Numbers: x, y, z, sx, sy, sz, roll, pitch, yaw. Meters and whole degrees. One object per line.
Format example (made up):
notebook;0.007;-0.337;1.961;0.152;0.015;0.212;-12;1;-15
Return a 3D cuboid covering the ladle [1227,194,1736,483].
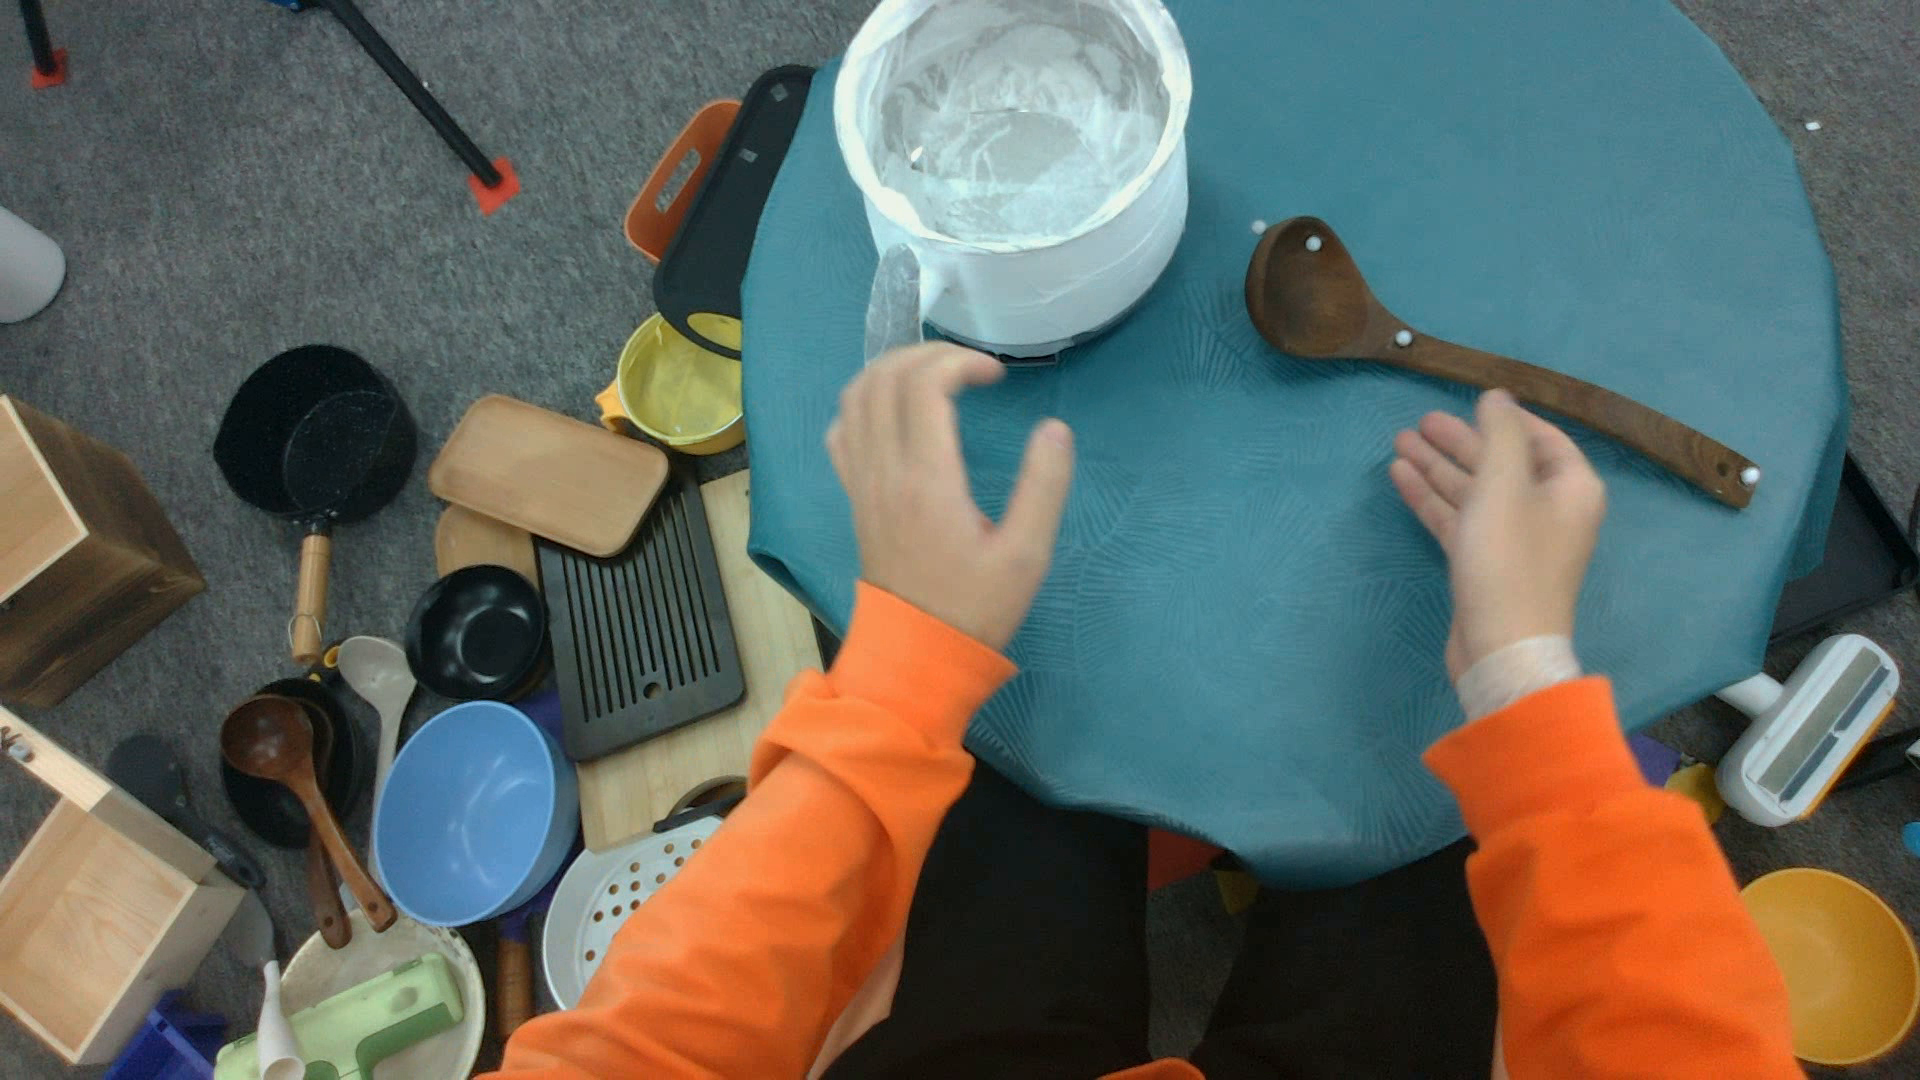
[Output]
ladle;0.269;-0.102;0.708;0.274;0.071;0.076;25;79;15

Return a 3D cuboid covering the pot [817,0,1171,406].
pot;0.010;-0.186;0.734;0.178;0.136;0.234;27;77;15
